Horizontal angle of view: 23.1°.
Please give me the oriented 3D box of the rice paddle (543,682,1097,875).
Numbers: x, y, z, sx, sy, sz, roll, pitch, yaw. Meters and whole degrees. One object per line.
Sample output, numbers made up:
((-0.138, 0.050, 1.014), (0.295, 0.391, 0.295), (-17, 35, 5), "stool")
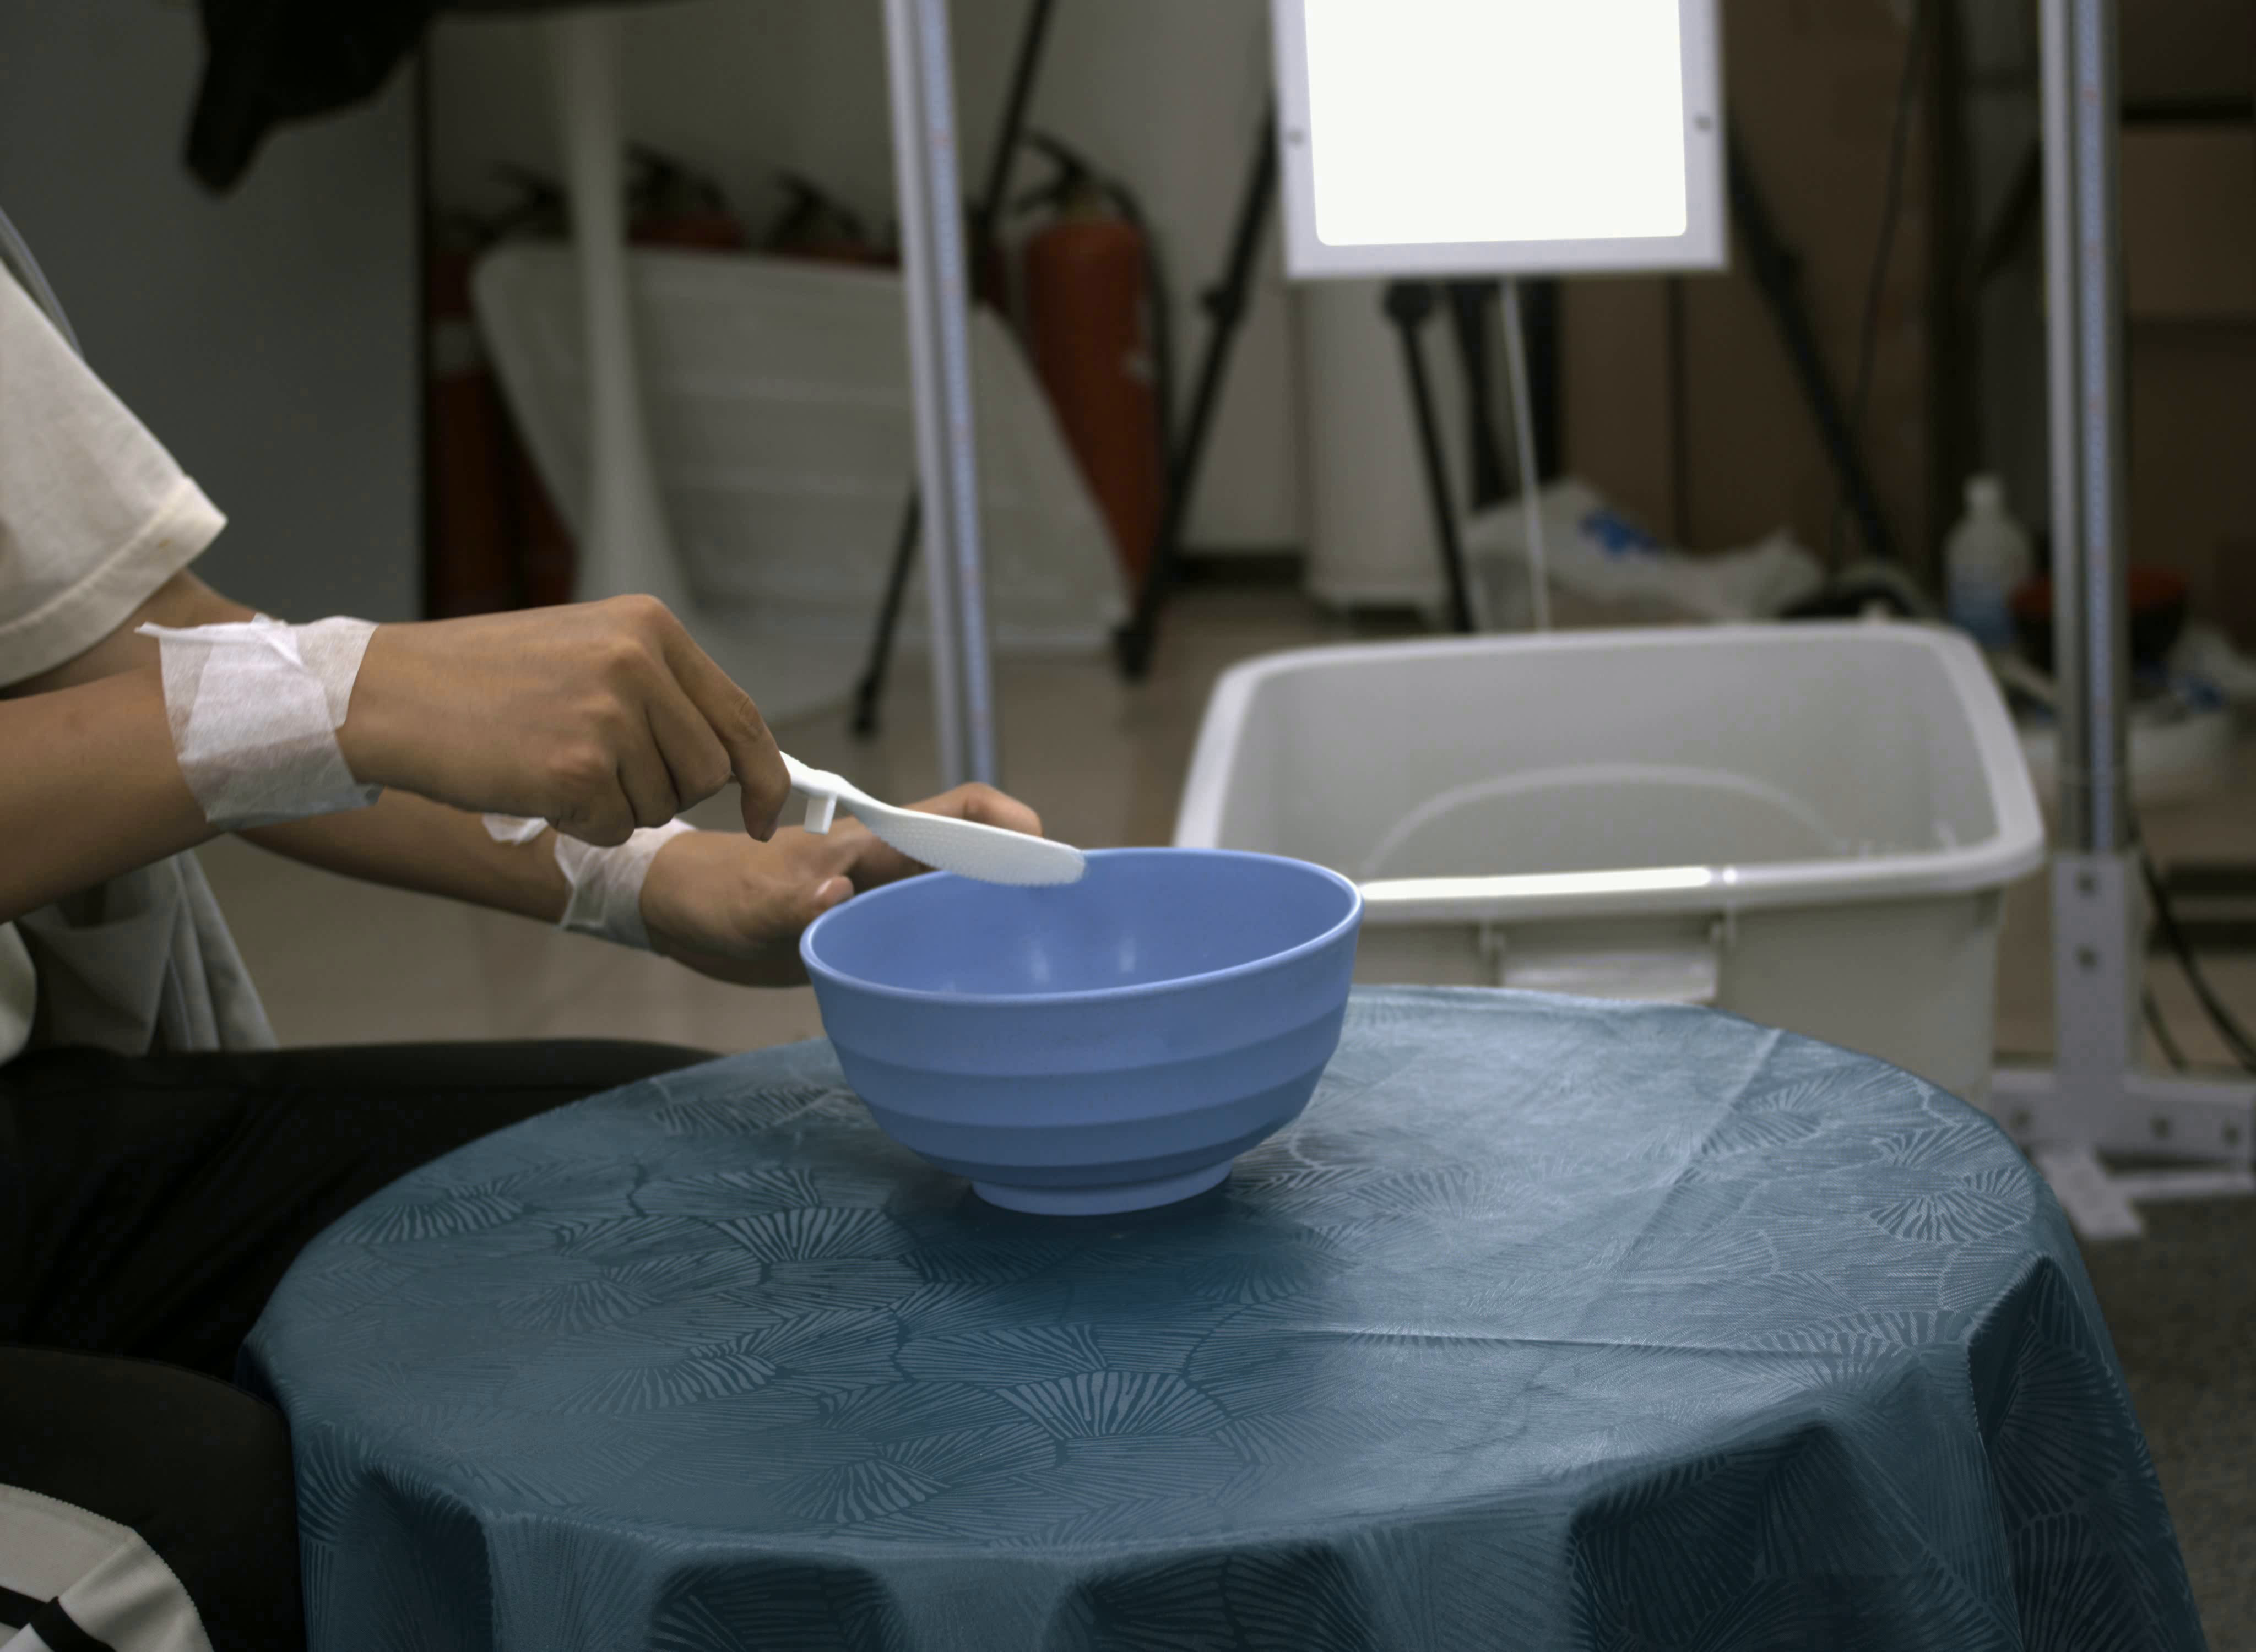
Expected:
((-0.096, -0.011, 1.799), (0.201, 0.029, 0.070), (14, -3, -33), "rice paddle")

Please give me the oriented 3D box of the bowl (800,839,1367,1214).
((-0.013, 0.075, 1.908), (0.196, 0.096, 0.196), (-4, 15, 0), "bowl")
